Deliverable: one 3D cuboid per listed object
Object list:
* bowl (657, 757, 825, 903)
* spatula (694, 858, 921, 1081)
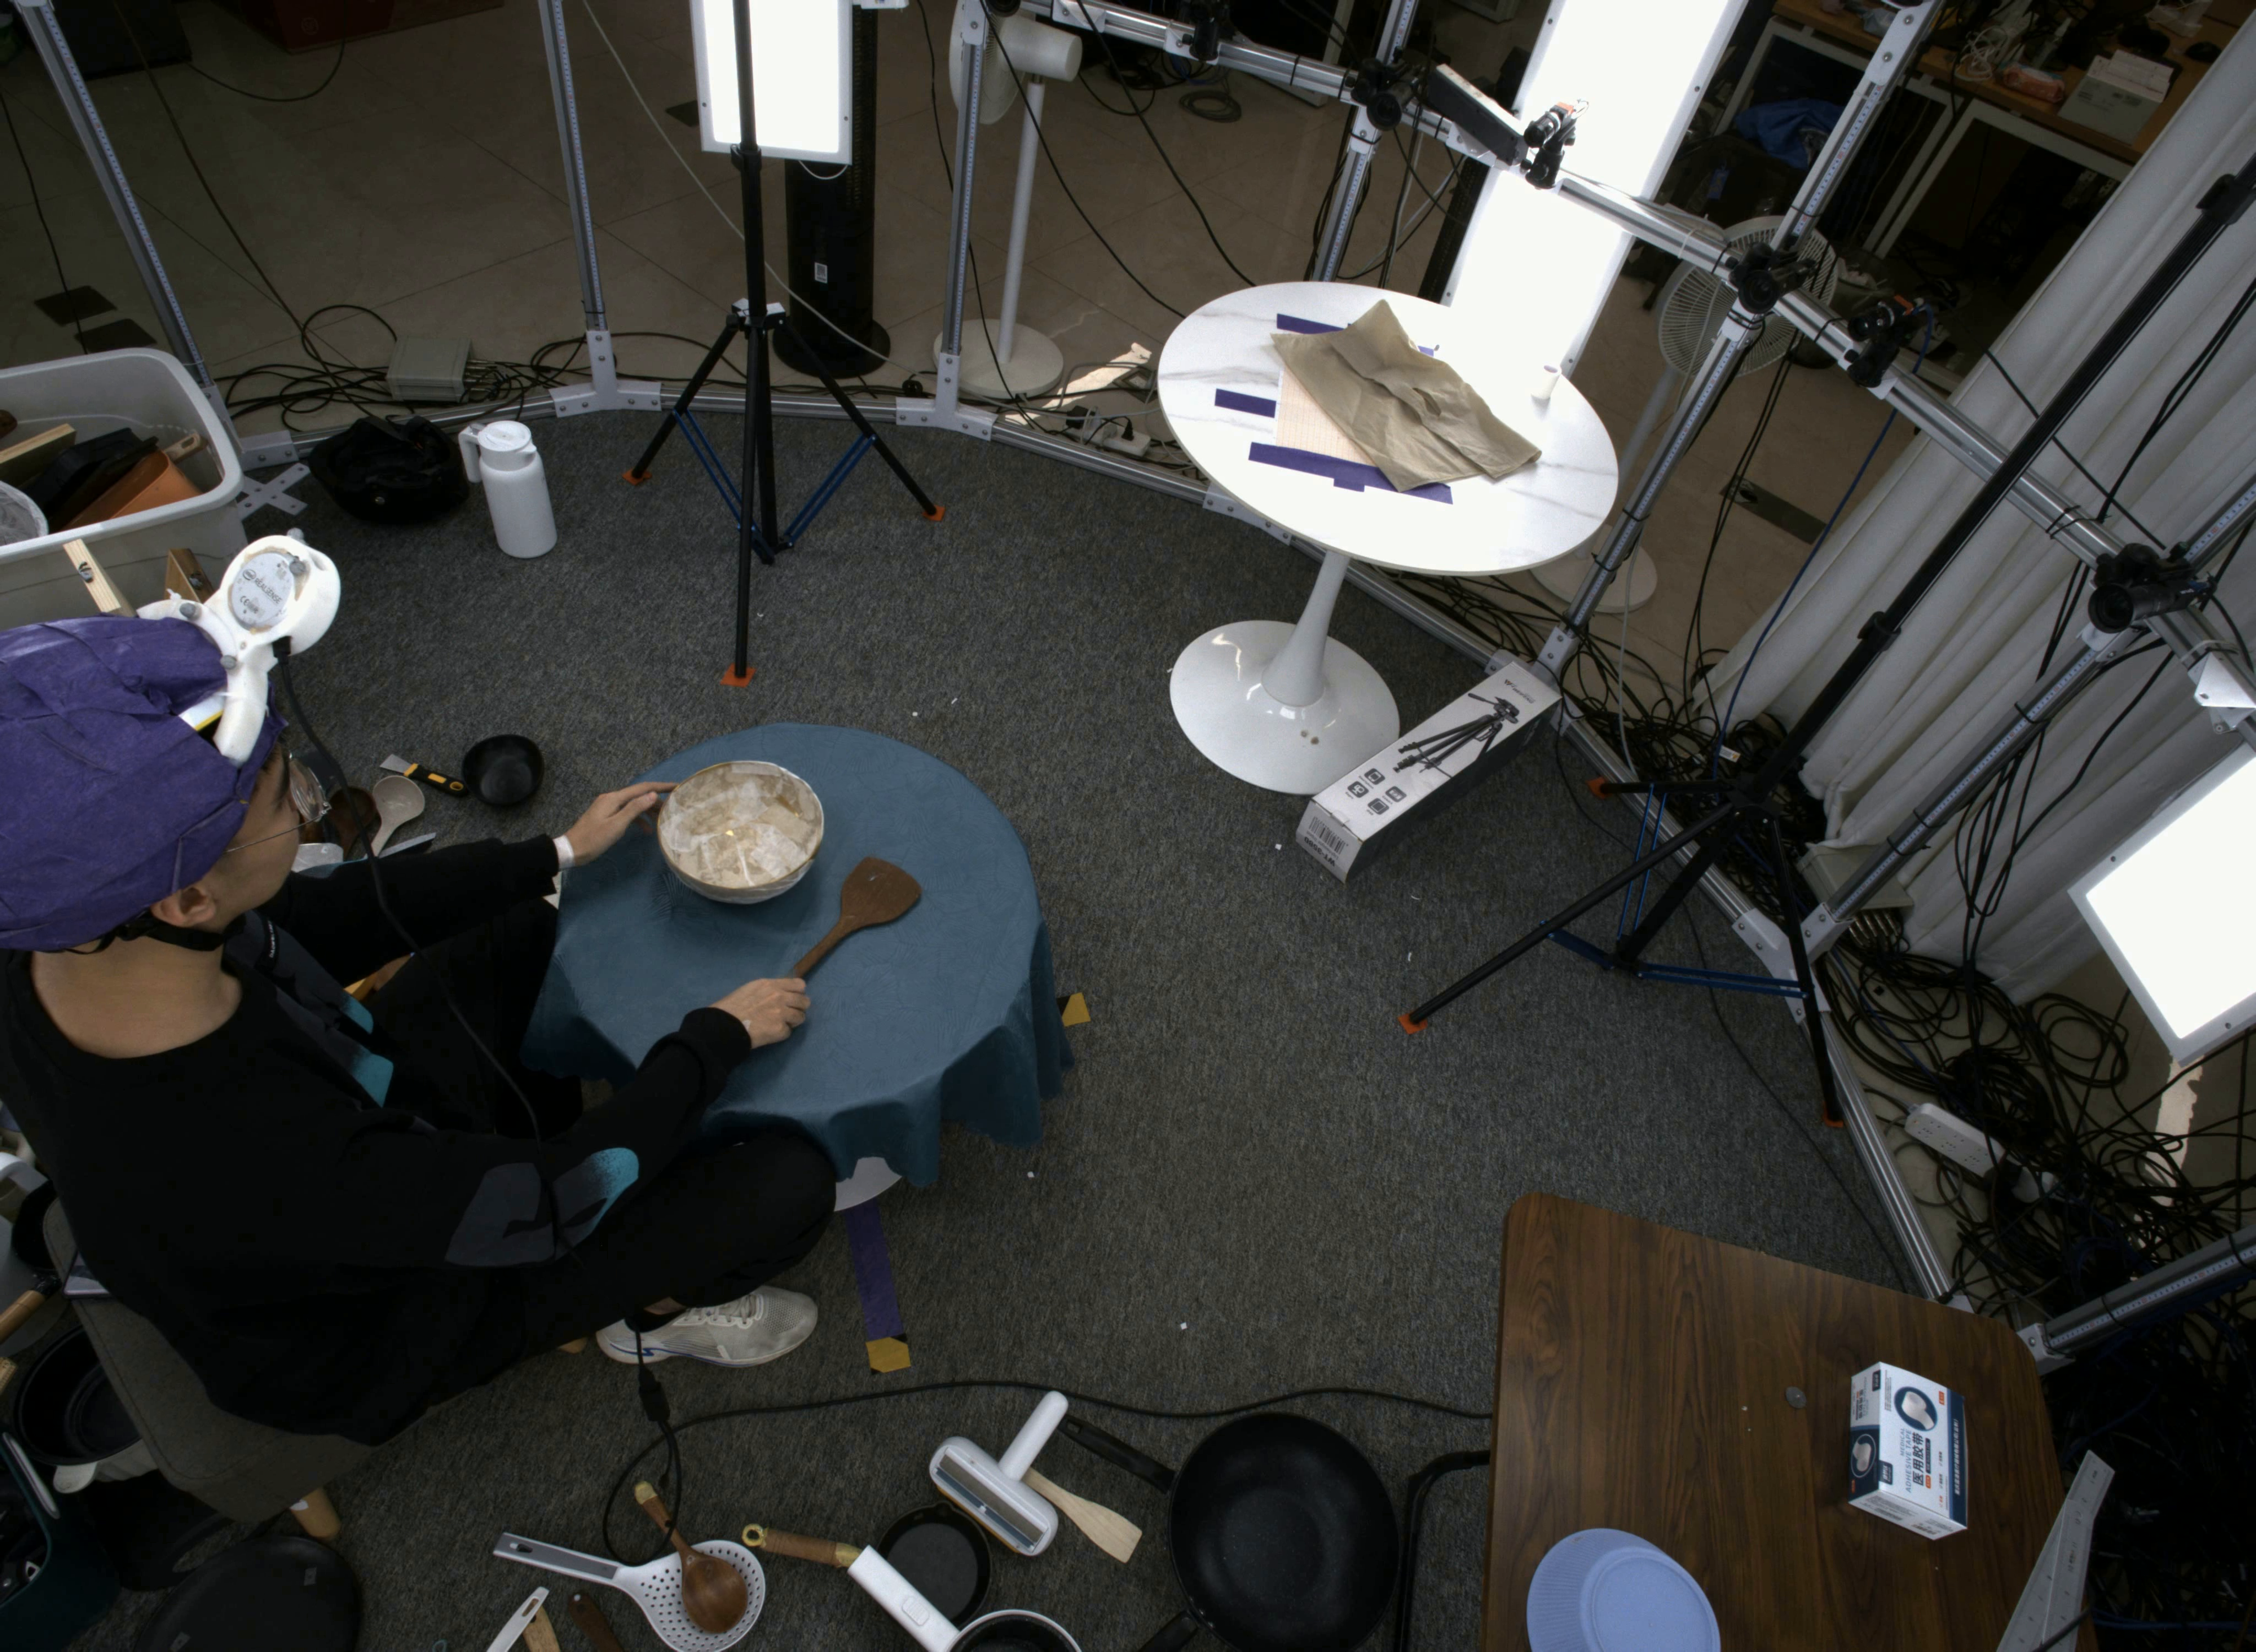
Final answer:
[{"bbox_3d":[-0.490,0.020,1.637,0.214,0.096,0.211,8,54,-9],"label":"bowl"},{"bbox_3d":[-0.396,0.170,1.592,0.094,0.016,0.385,31,49,11],"label":"spatula"}]
